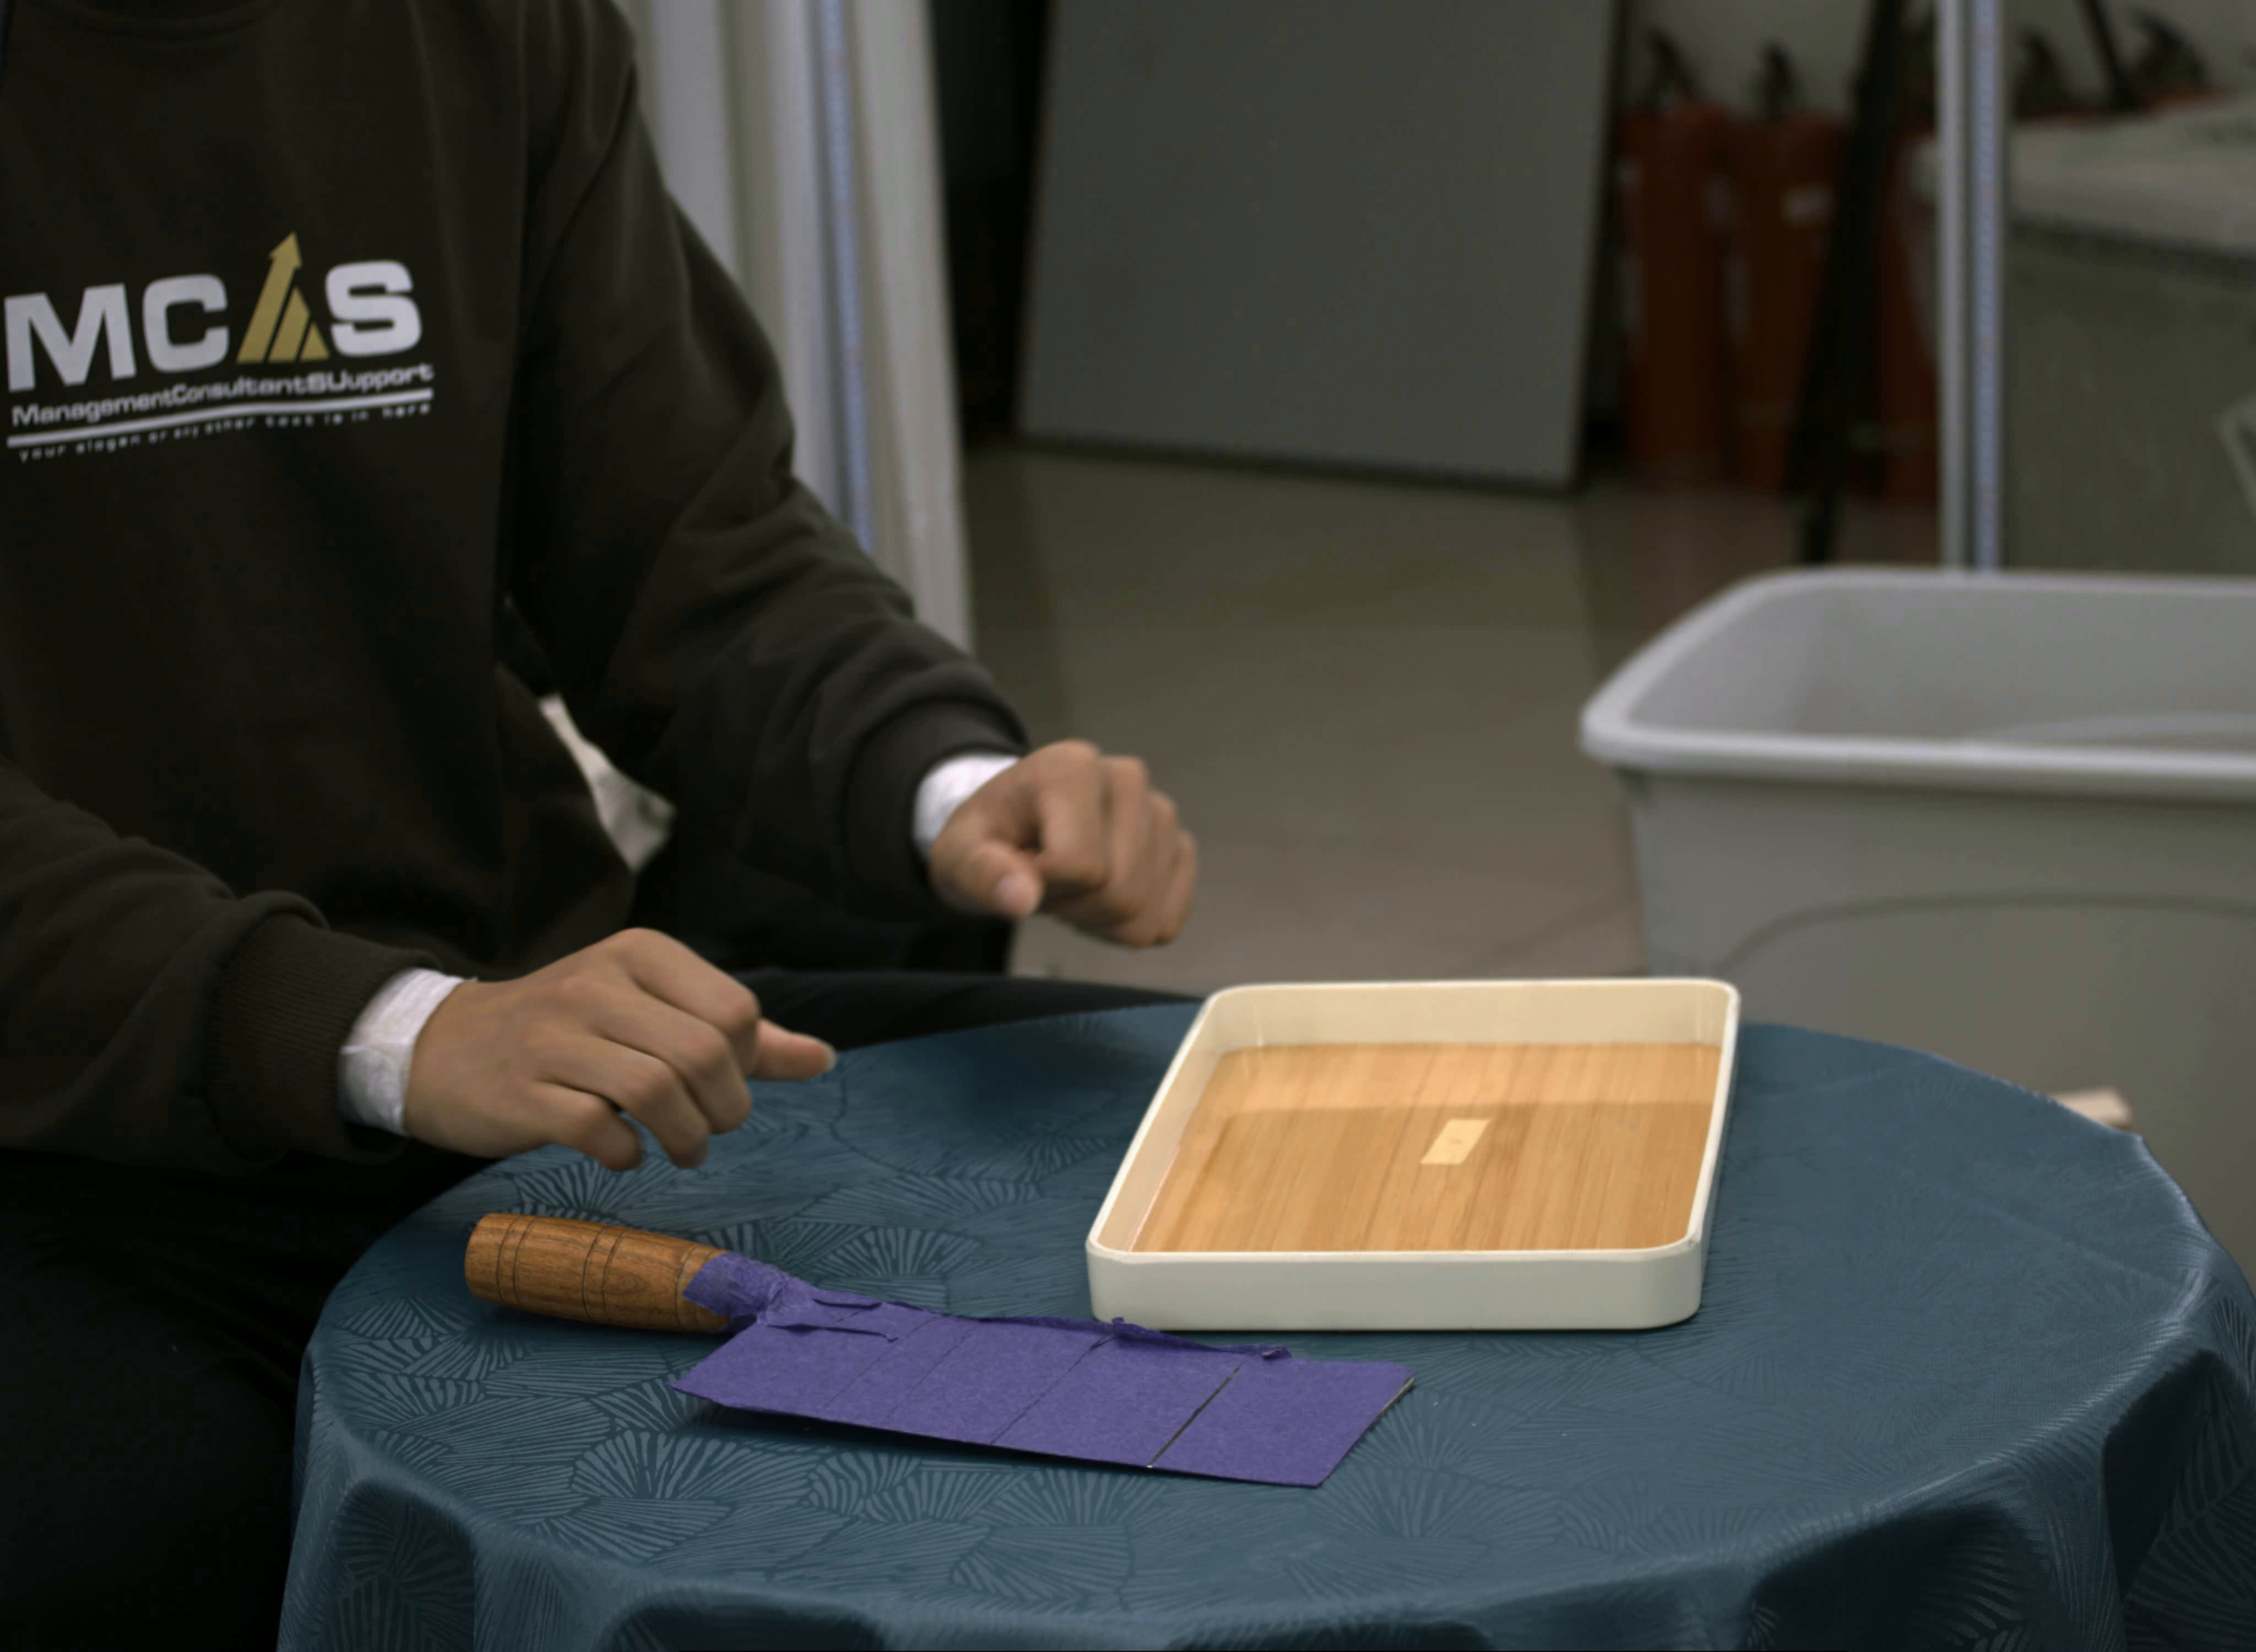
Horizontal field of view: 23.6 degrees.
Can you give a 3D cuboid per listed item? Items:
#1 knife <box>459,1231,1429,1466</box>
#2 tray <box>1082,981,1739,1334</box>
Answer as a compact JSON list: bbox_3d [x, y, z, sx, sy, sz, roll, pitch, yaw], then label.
[{"bbox_3d":[-0.071,0.154,1.600,0.315,0.032,0.102,2,14,24],"label":"knife"},{"bbox_3d":[0.099,0.105,1.757,0.190,0.028,0.299,-2,13,11],"label":"tray"}]
